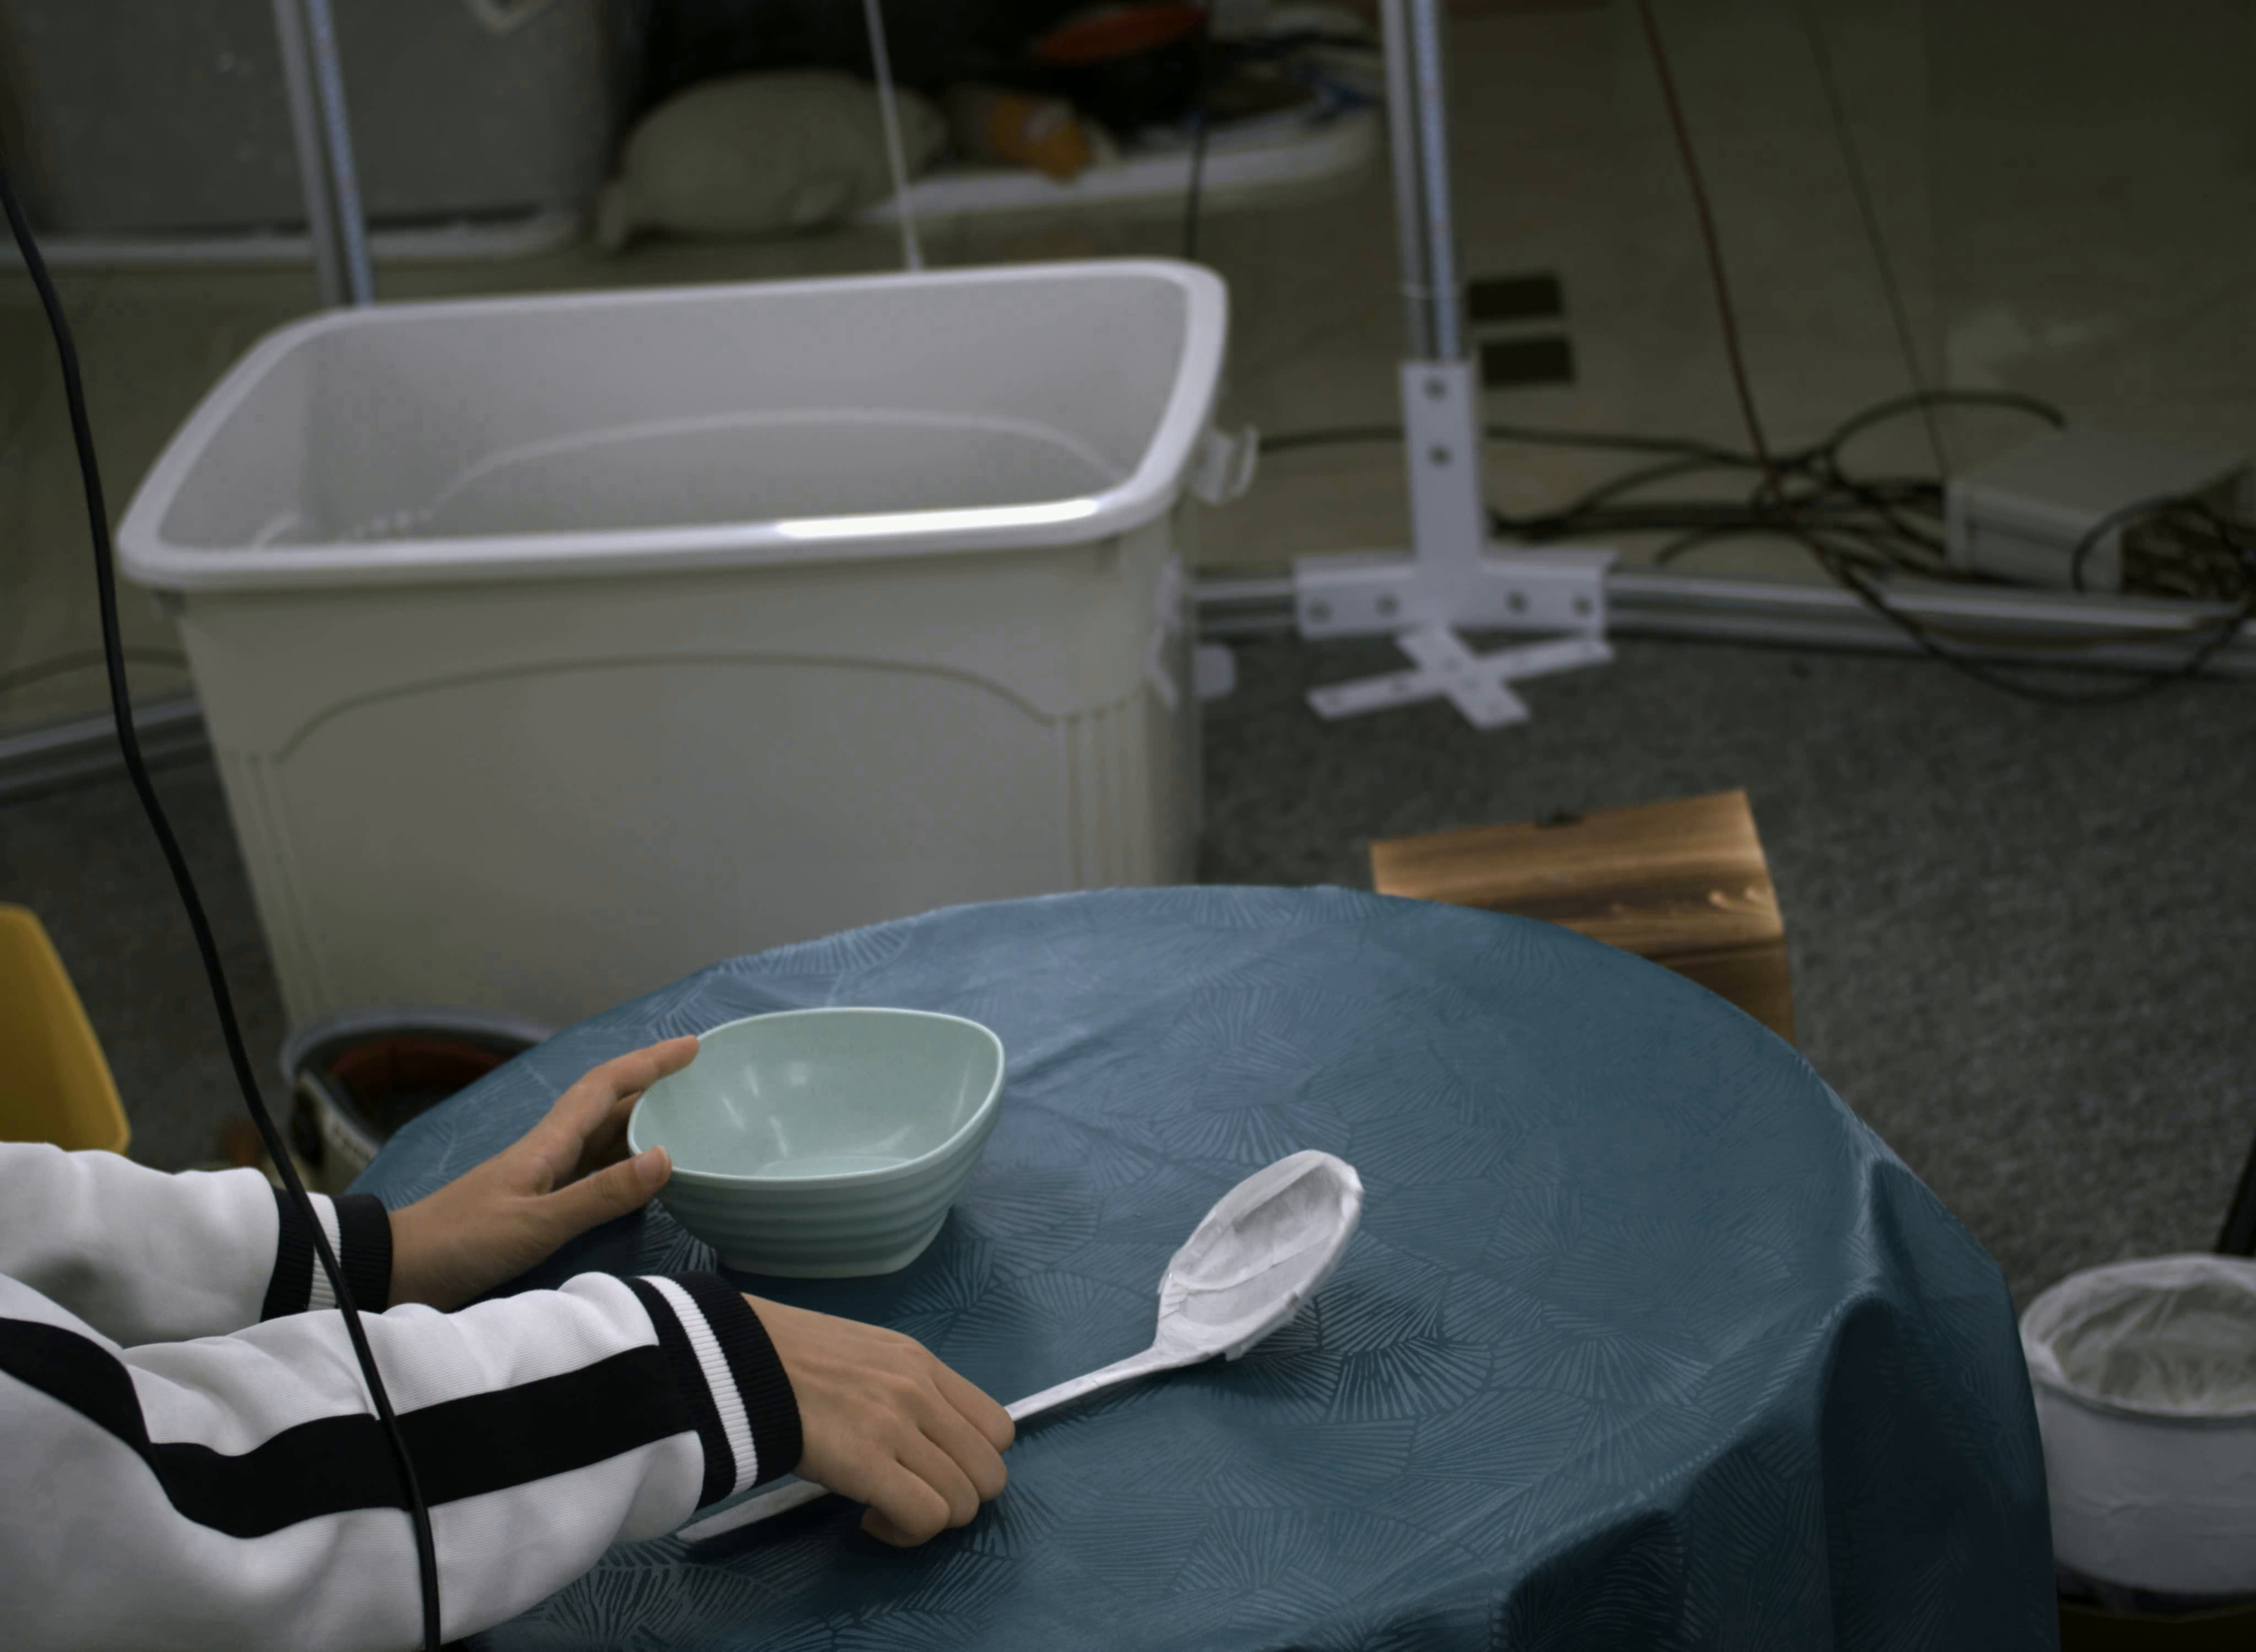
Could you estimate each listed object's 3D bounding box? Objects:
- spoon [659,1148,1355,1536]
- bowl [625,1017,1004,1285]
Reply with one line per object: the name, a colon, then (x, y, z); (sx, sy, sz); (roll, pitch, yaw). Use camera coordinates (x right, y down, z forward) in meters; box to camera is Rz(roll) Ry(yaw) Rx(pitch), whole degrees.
spoon: (-0.044, 0.180, 2.003); (0.276, 0.060, 0.100); (-16, 12, -21)
bowl: (-0.114, 0.128, 2.137); (0.151, 0.059, 0.149); (-5, 25, 3)
